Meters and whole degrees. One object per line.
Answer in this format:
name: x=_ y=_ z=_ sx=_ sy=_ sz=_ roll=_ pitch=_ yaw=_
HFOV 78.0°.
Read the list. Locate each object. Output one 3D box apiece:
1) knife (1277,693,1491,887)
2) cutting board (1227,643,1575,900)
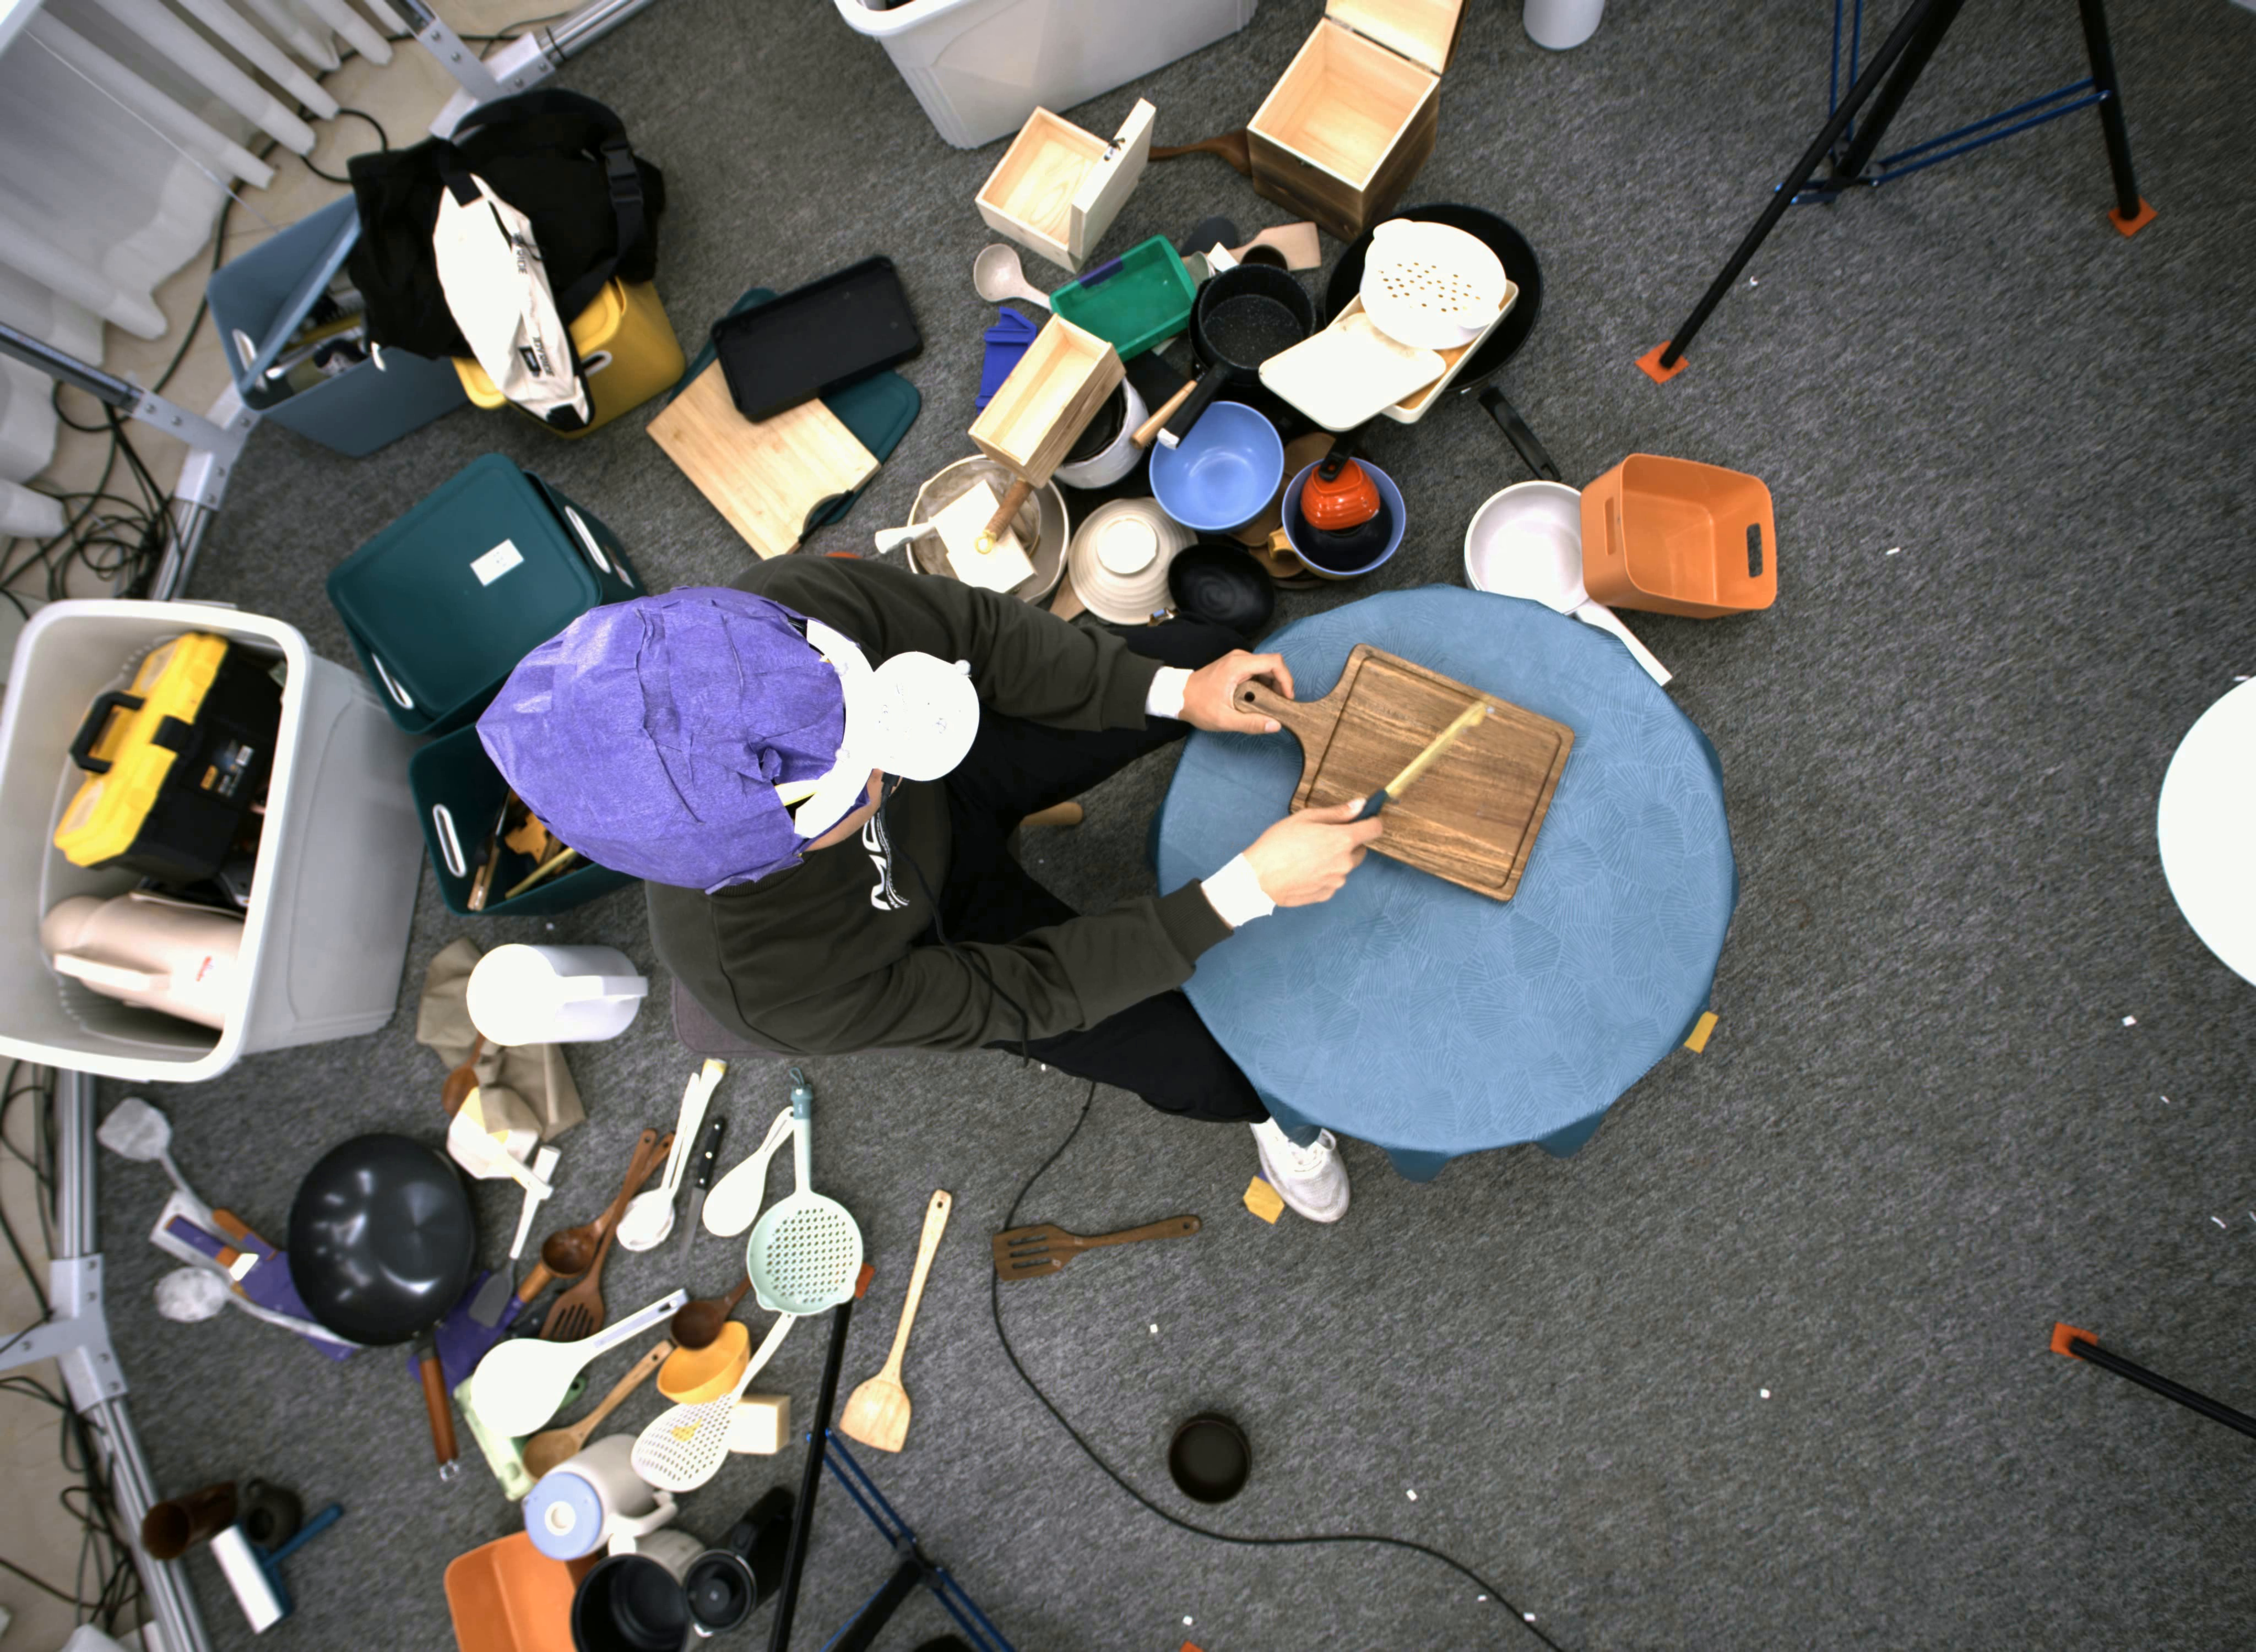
knife: x=0.259 y=-0.040 z=1.377 sx=0.289 sy=0.082 sz=0.027 roll=-42 pitch=74 yaw=-2
cutting board: x=0.270 y=-0.076 z=1.424 sx=0.352 sy=0.023 sz=0.201 roll=21 pitch=91 yaw=0
